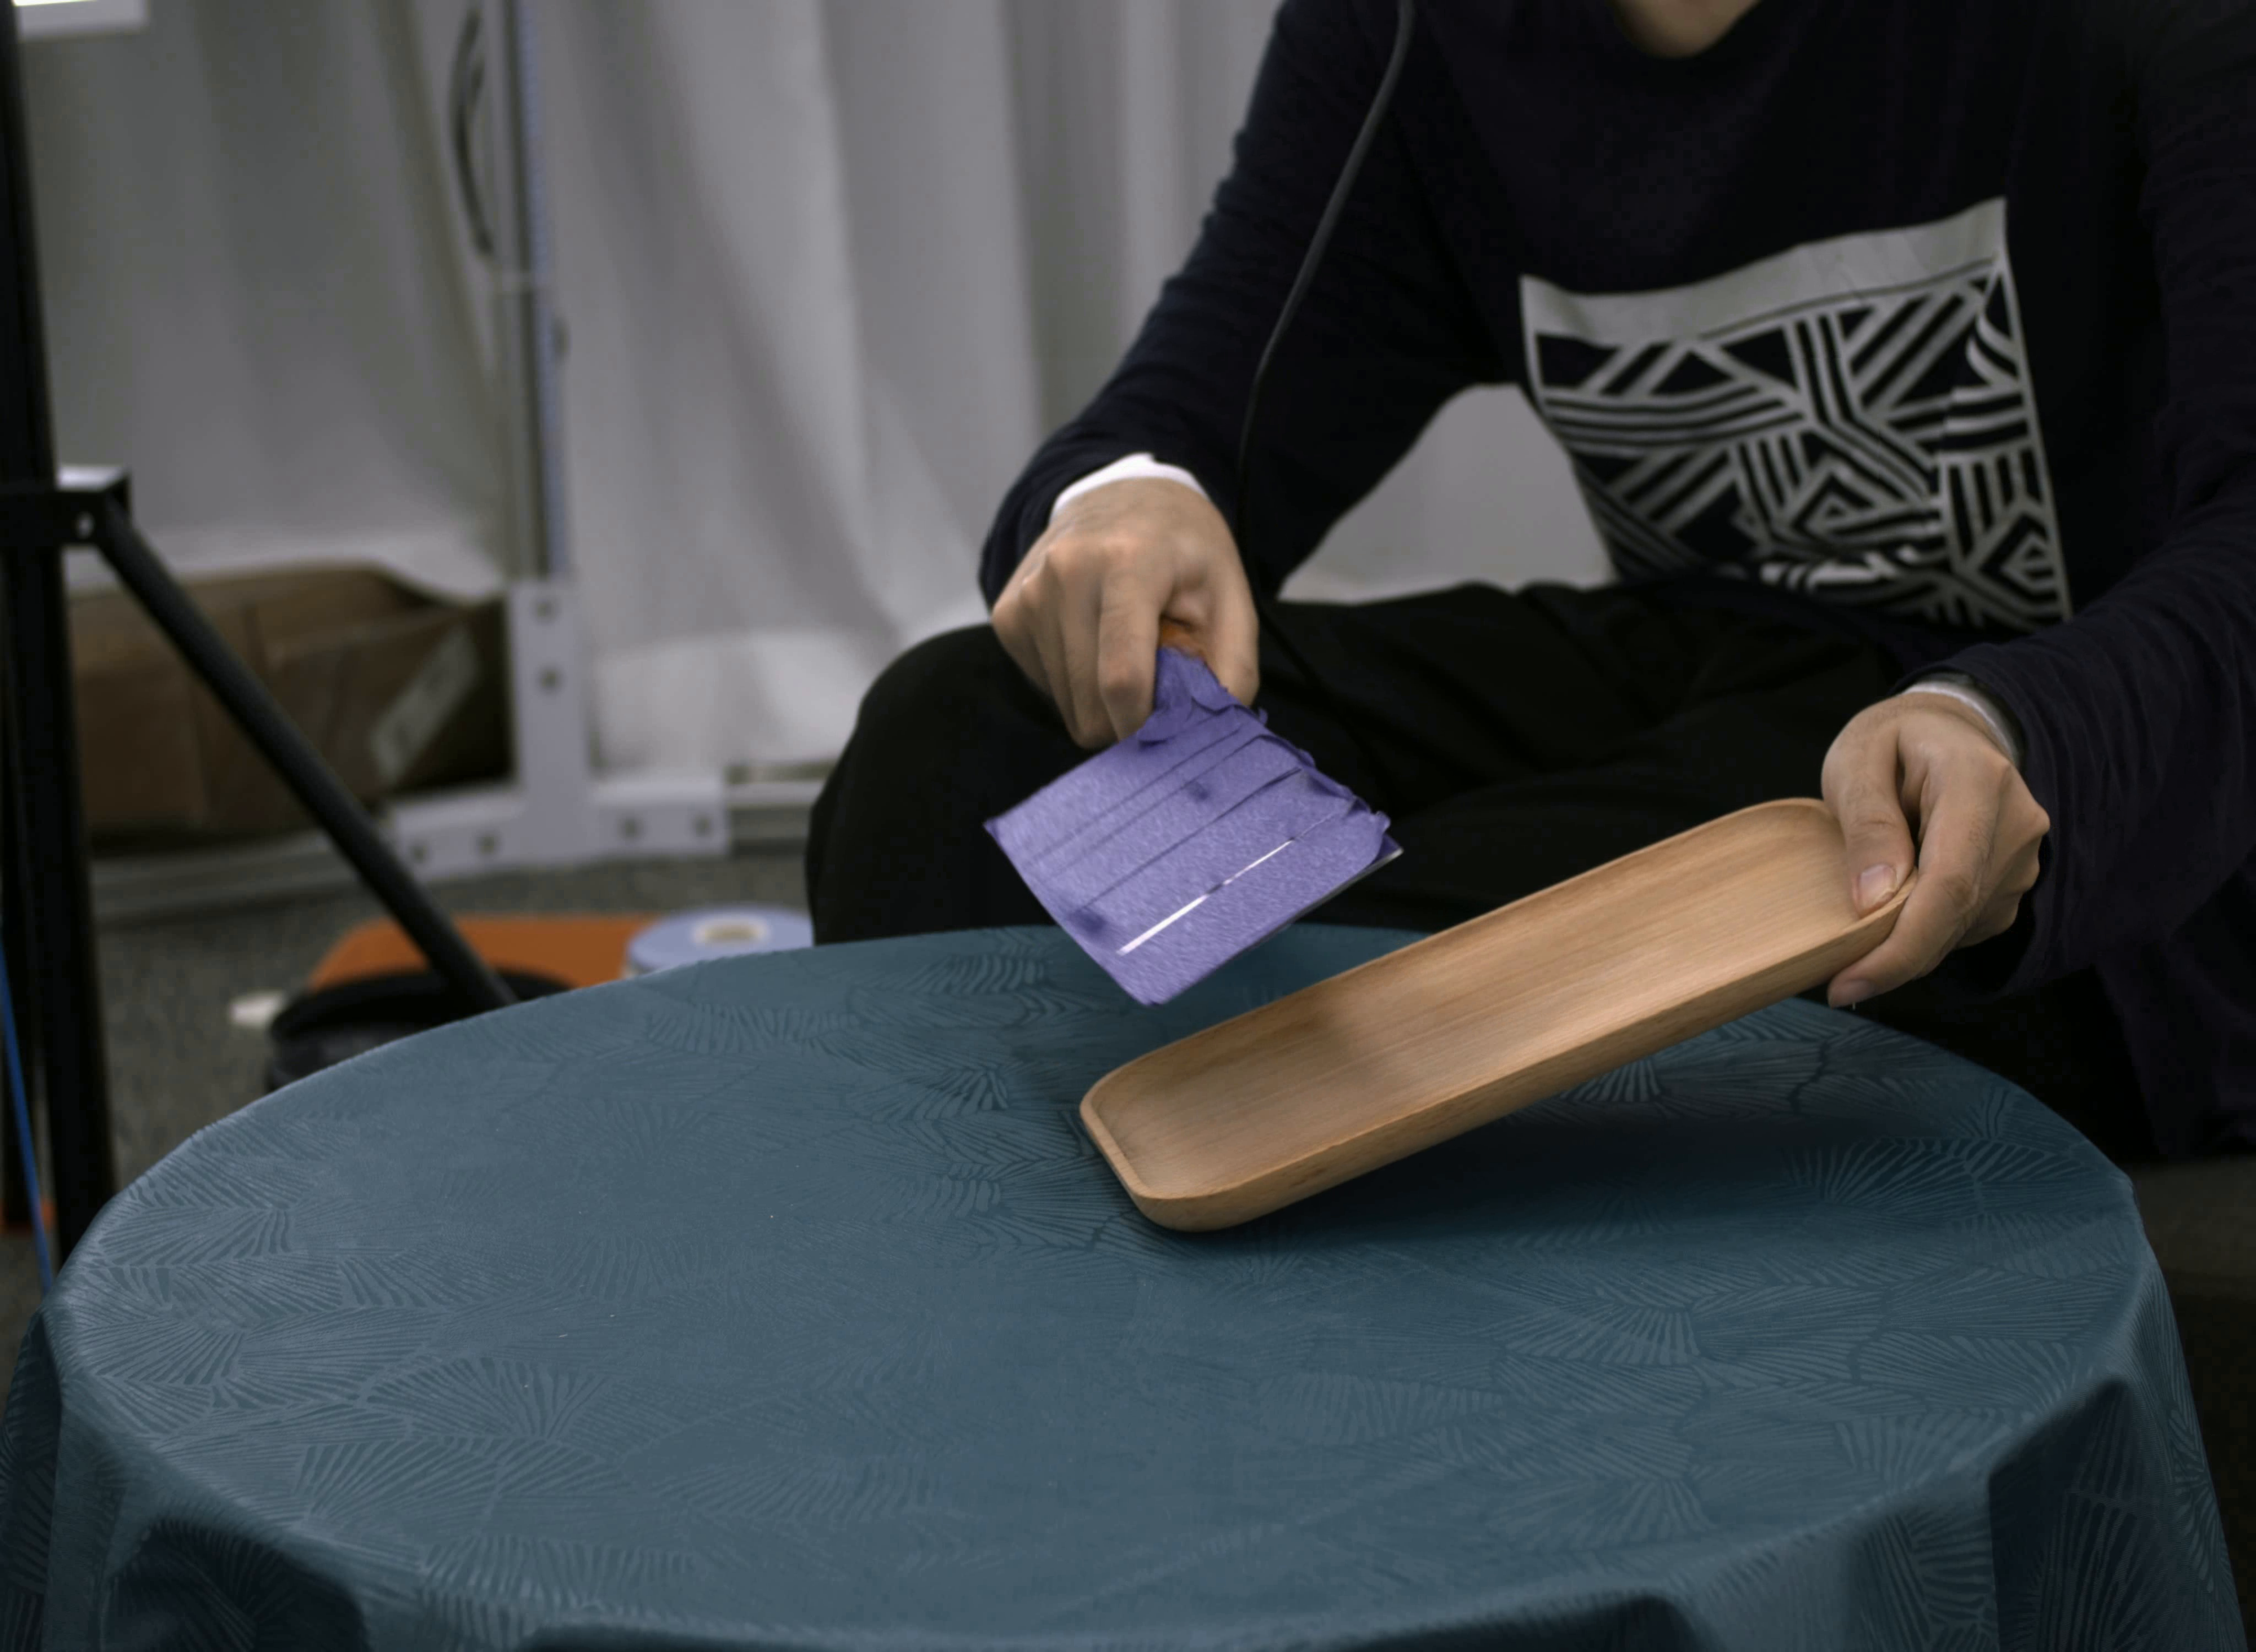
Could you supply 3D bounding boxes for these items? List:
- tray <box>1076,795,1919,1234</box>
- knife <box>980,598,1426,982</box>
[{"bbox_3d":[0.109,0.056,1.575,0.249,0.023,0.132,-22,16,-2],"label":"tray"},{"bbox_3d":[0.002,-0.015,1.664,0.103,0.032,0.319,-29,18,-6],"label":"knife"}]
